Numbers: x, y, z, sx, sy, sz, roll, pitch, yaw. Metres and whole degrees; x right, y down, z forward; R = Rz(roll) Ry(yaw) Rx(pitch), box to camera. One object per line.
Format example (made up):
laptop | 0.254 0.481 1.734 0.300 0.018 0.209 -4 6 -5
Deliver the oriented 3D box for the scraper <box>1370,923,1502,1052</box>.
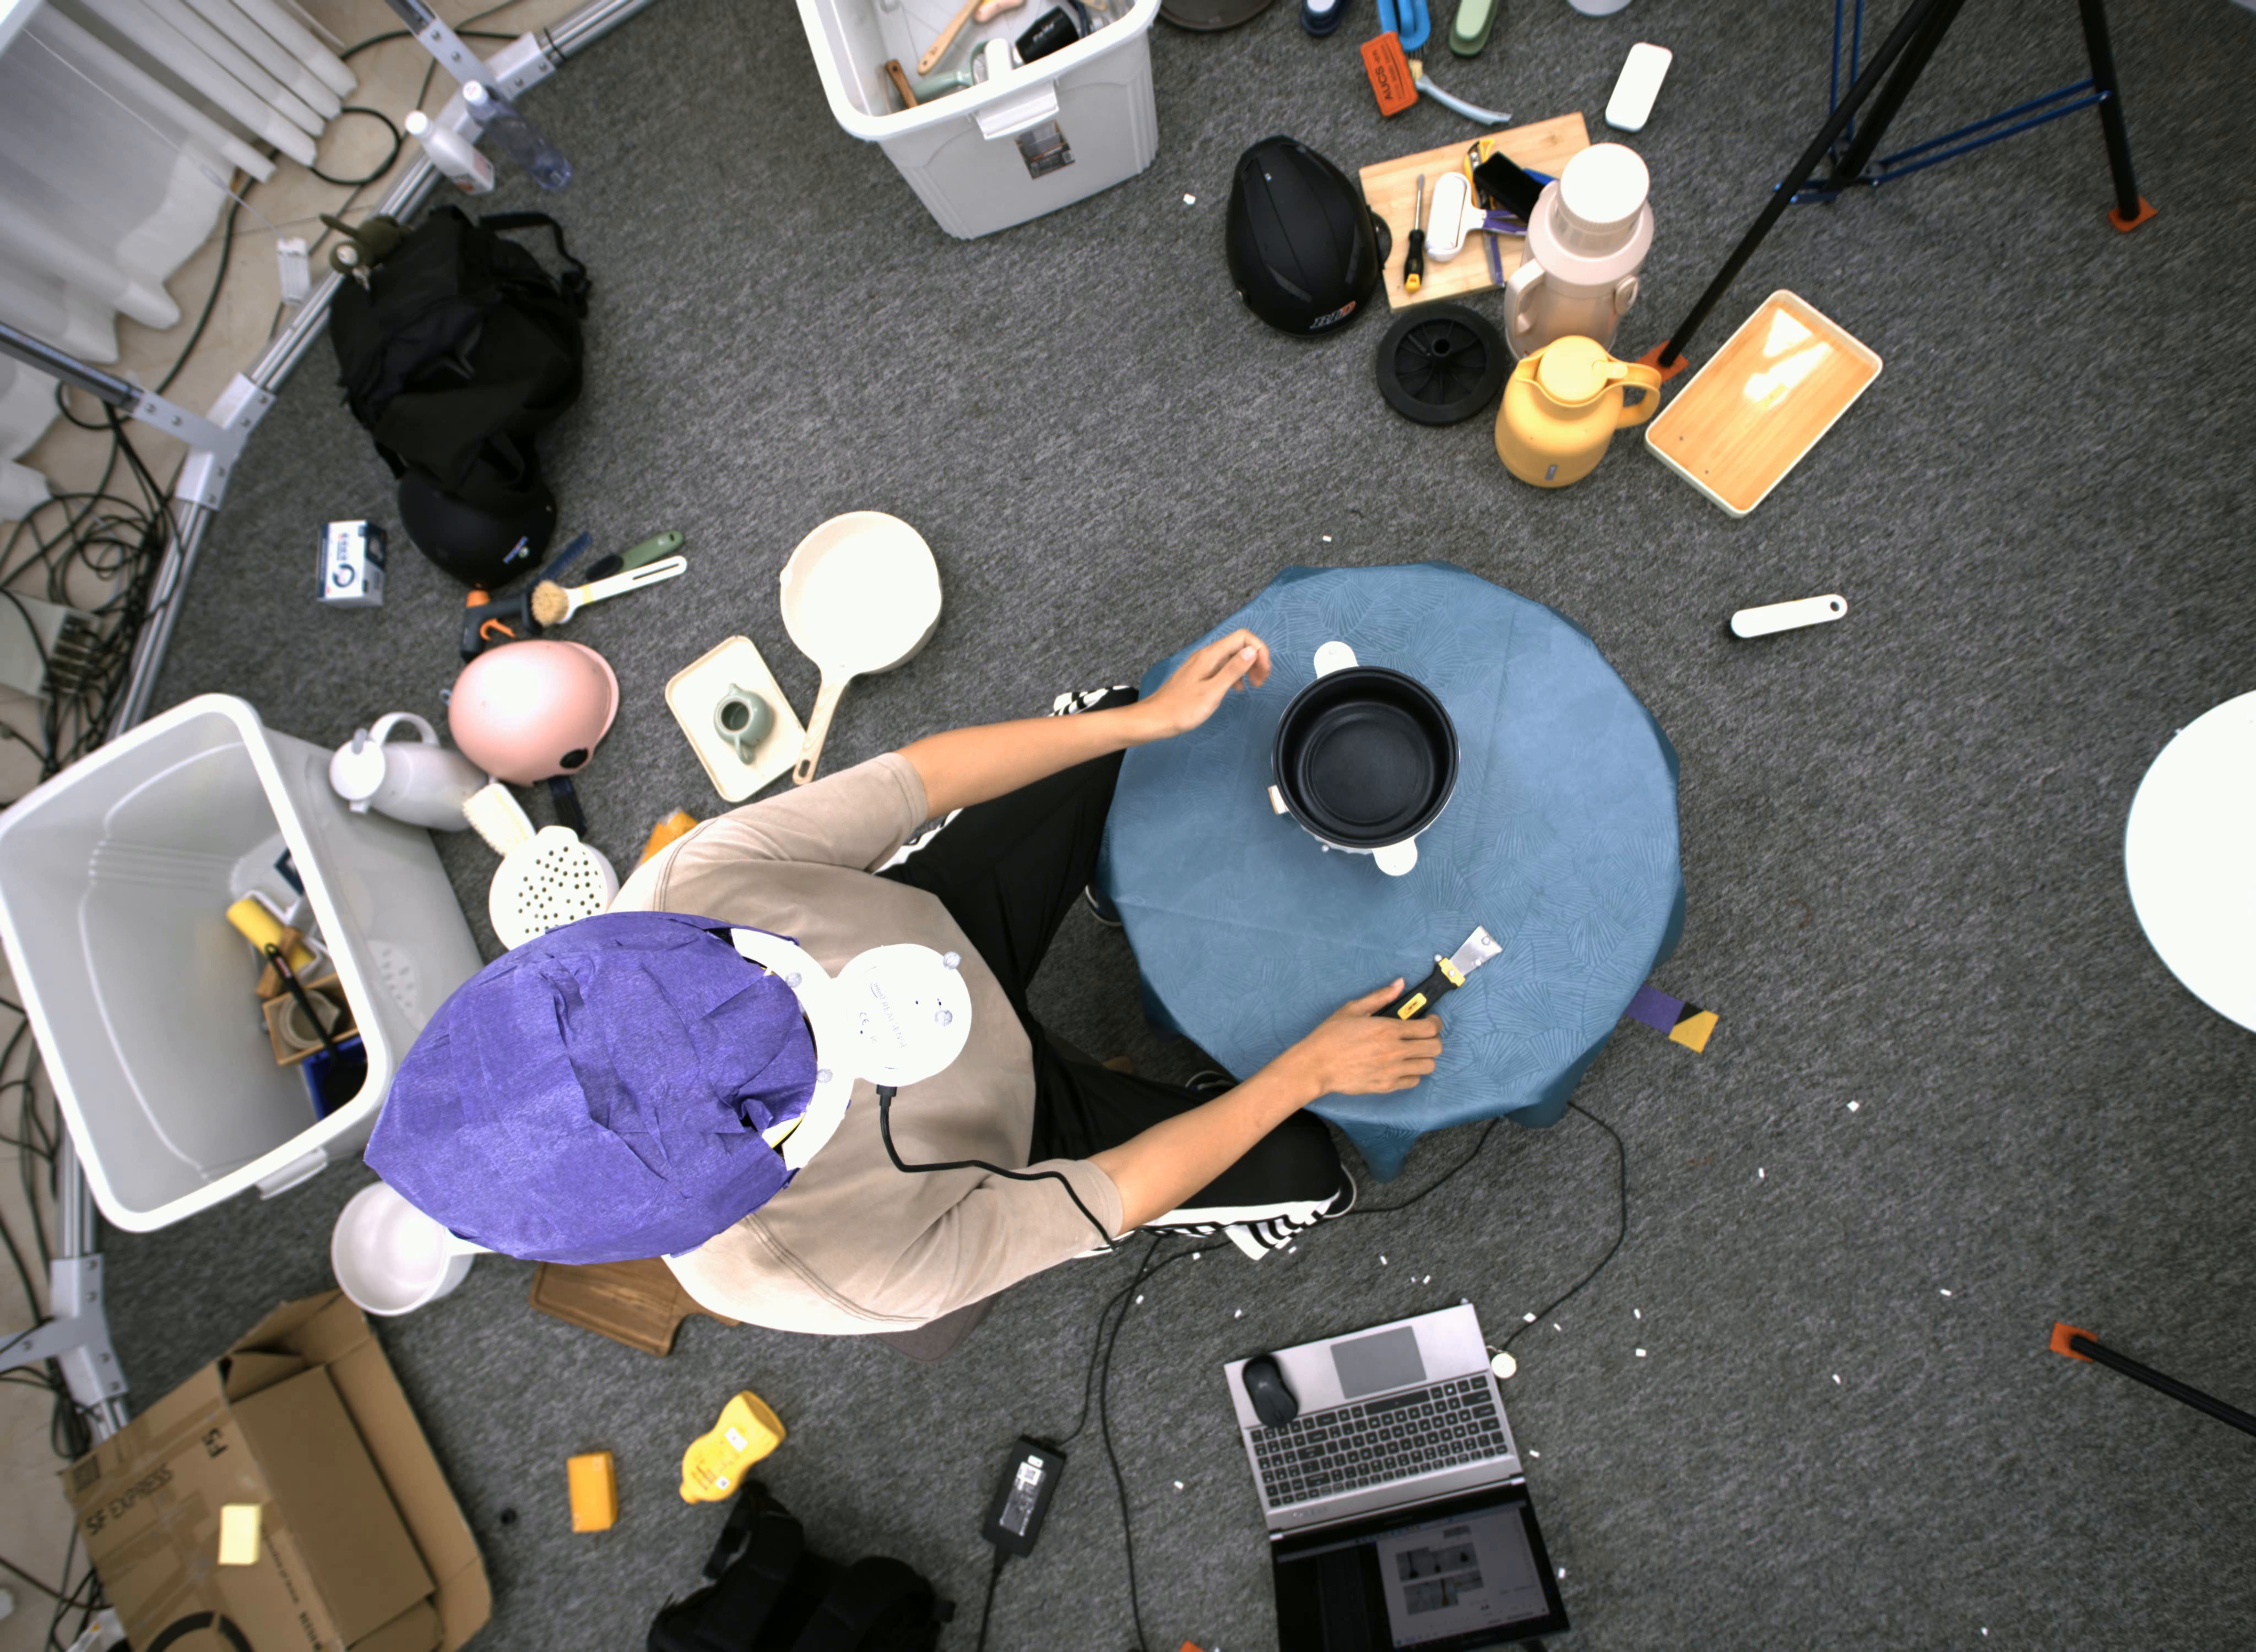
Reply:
scraper | 0.318 0.171 1.438 0.171 0.015 0.038 -44 83 3

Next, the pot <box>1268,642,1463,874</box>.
pot | 0.237 -0.058 1.405 0.191 0.143 0.238 -18 82 5
